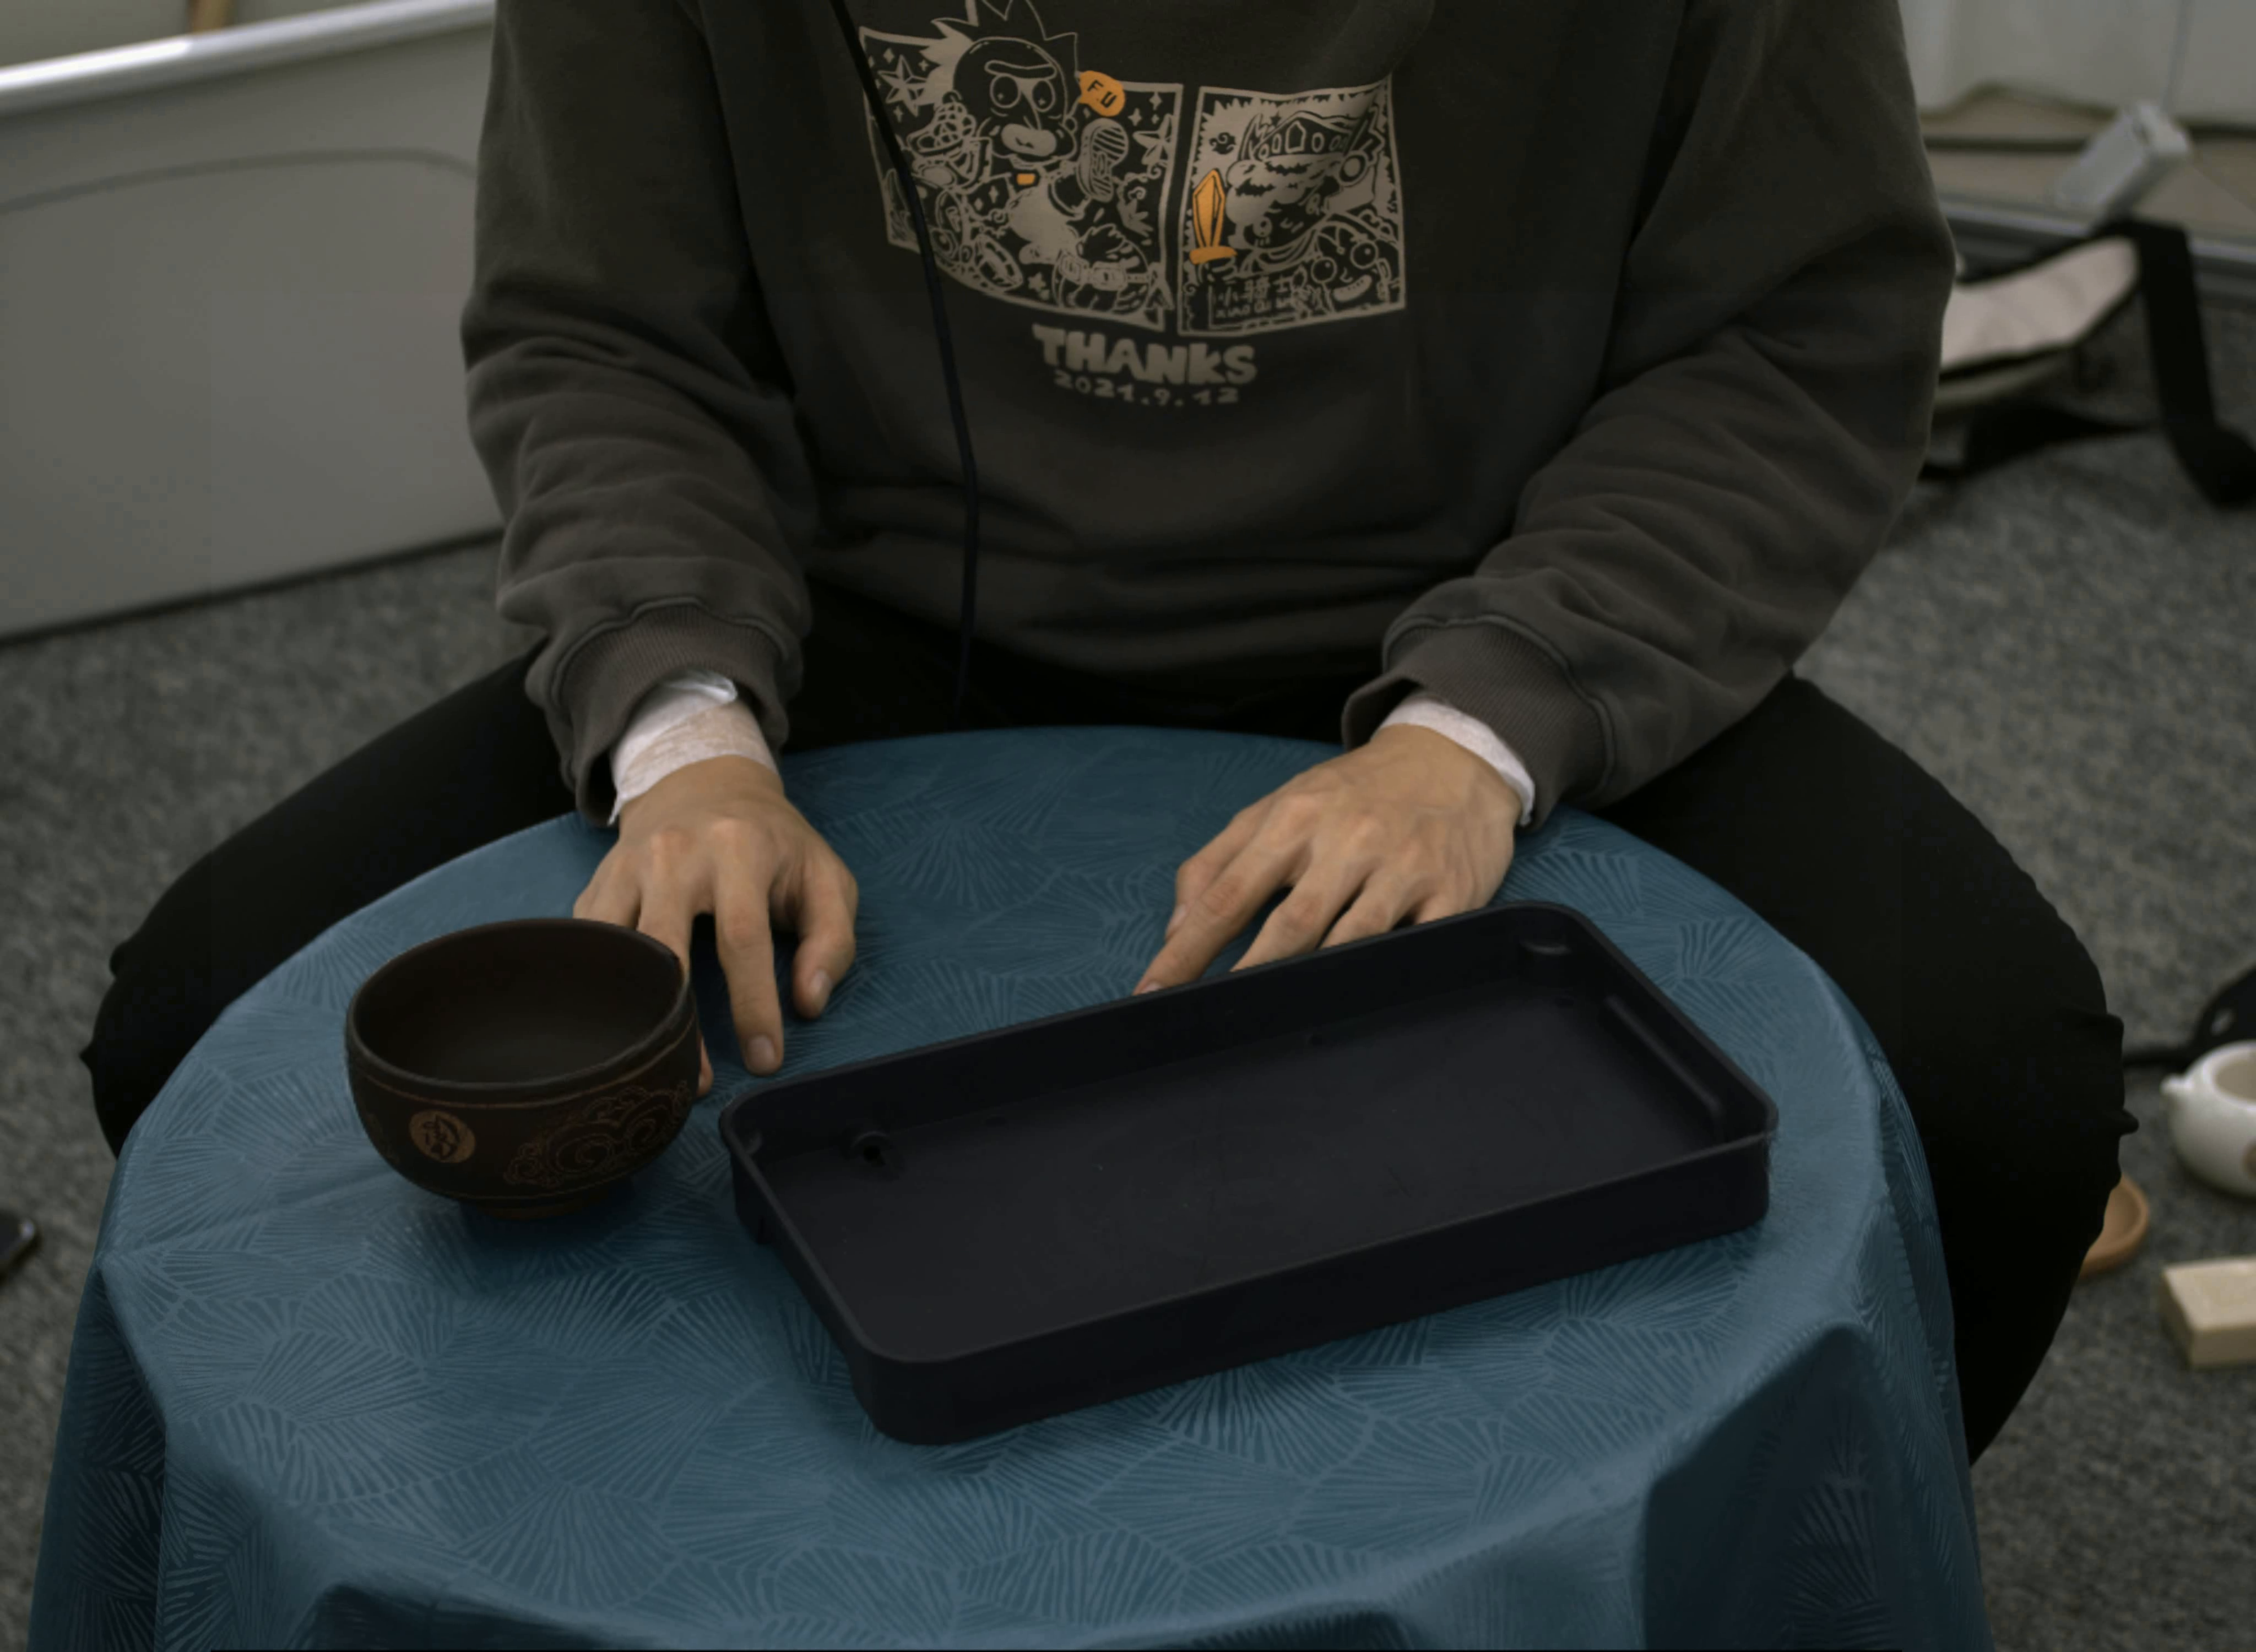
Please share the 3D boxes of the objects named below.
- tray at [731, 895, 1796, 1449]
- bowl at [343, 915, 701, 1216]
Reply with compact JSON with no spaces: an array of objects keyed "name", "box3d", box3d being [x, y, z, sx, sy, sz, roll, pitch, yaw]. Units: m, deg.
[{"name":"tray","box3d":[0.044,0.109,1.843,0.319,0.036,0.185,-14,29,-20]},{"name":"bowl","box3d":[-0.200,0.087,1.870,0.117,0.069,0.120,-2,26,1]}]
